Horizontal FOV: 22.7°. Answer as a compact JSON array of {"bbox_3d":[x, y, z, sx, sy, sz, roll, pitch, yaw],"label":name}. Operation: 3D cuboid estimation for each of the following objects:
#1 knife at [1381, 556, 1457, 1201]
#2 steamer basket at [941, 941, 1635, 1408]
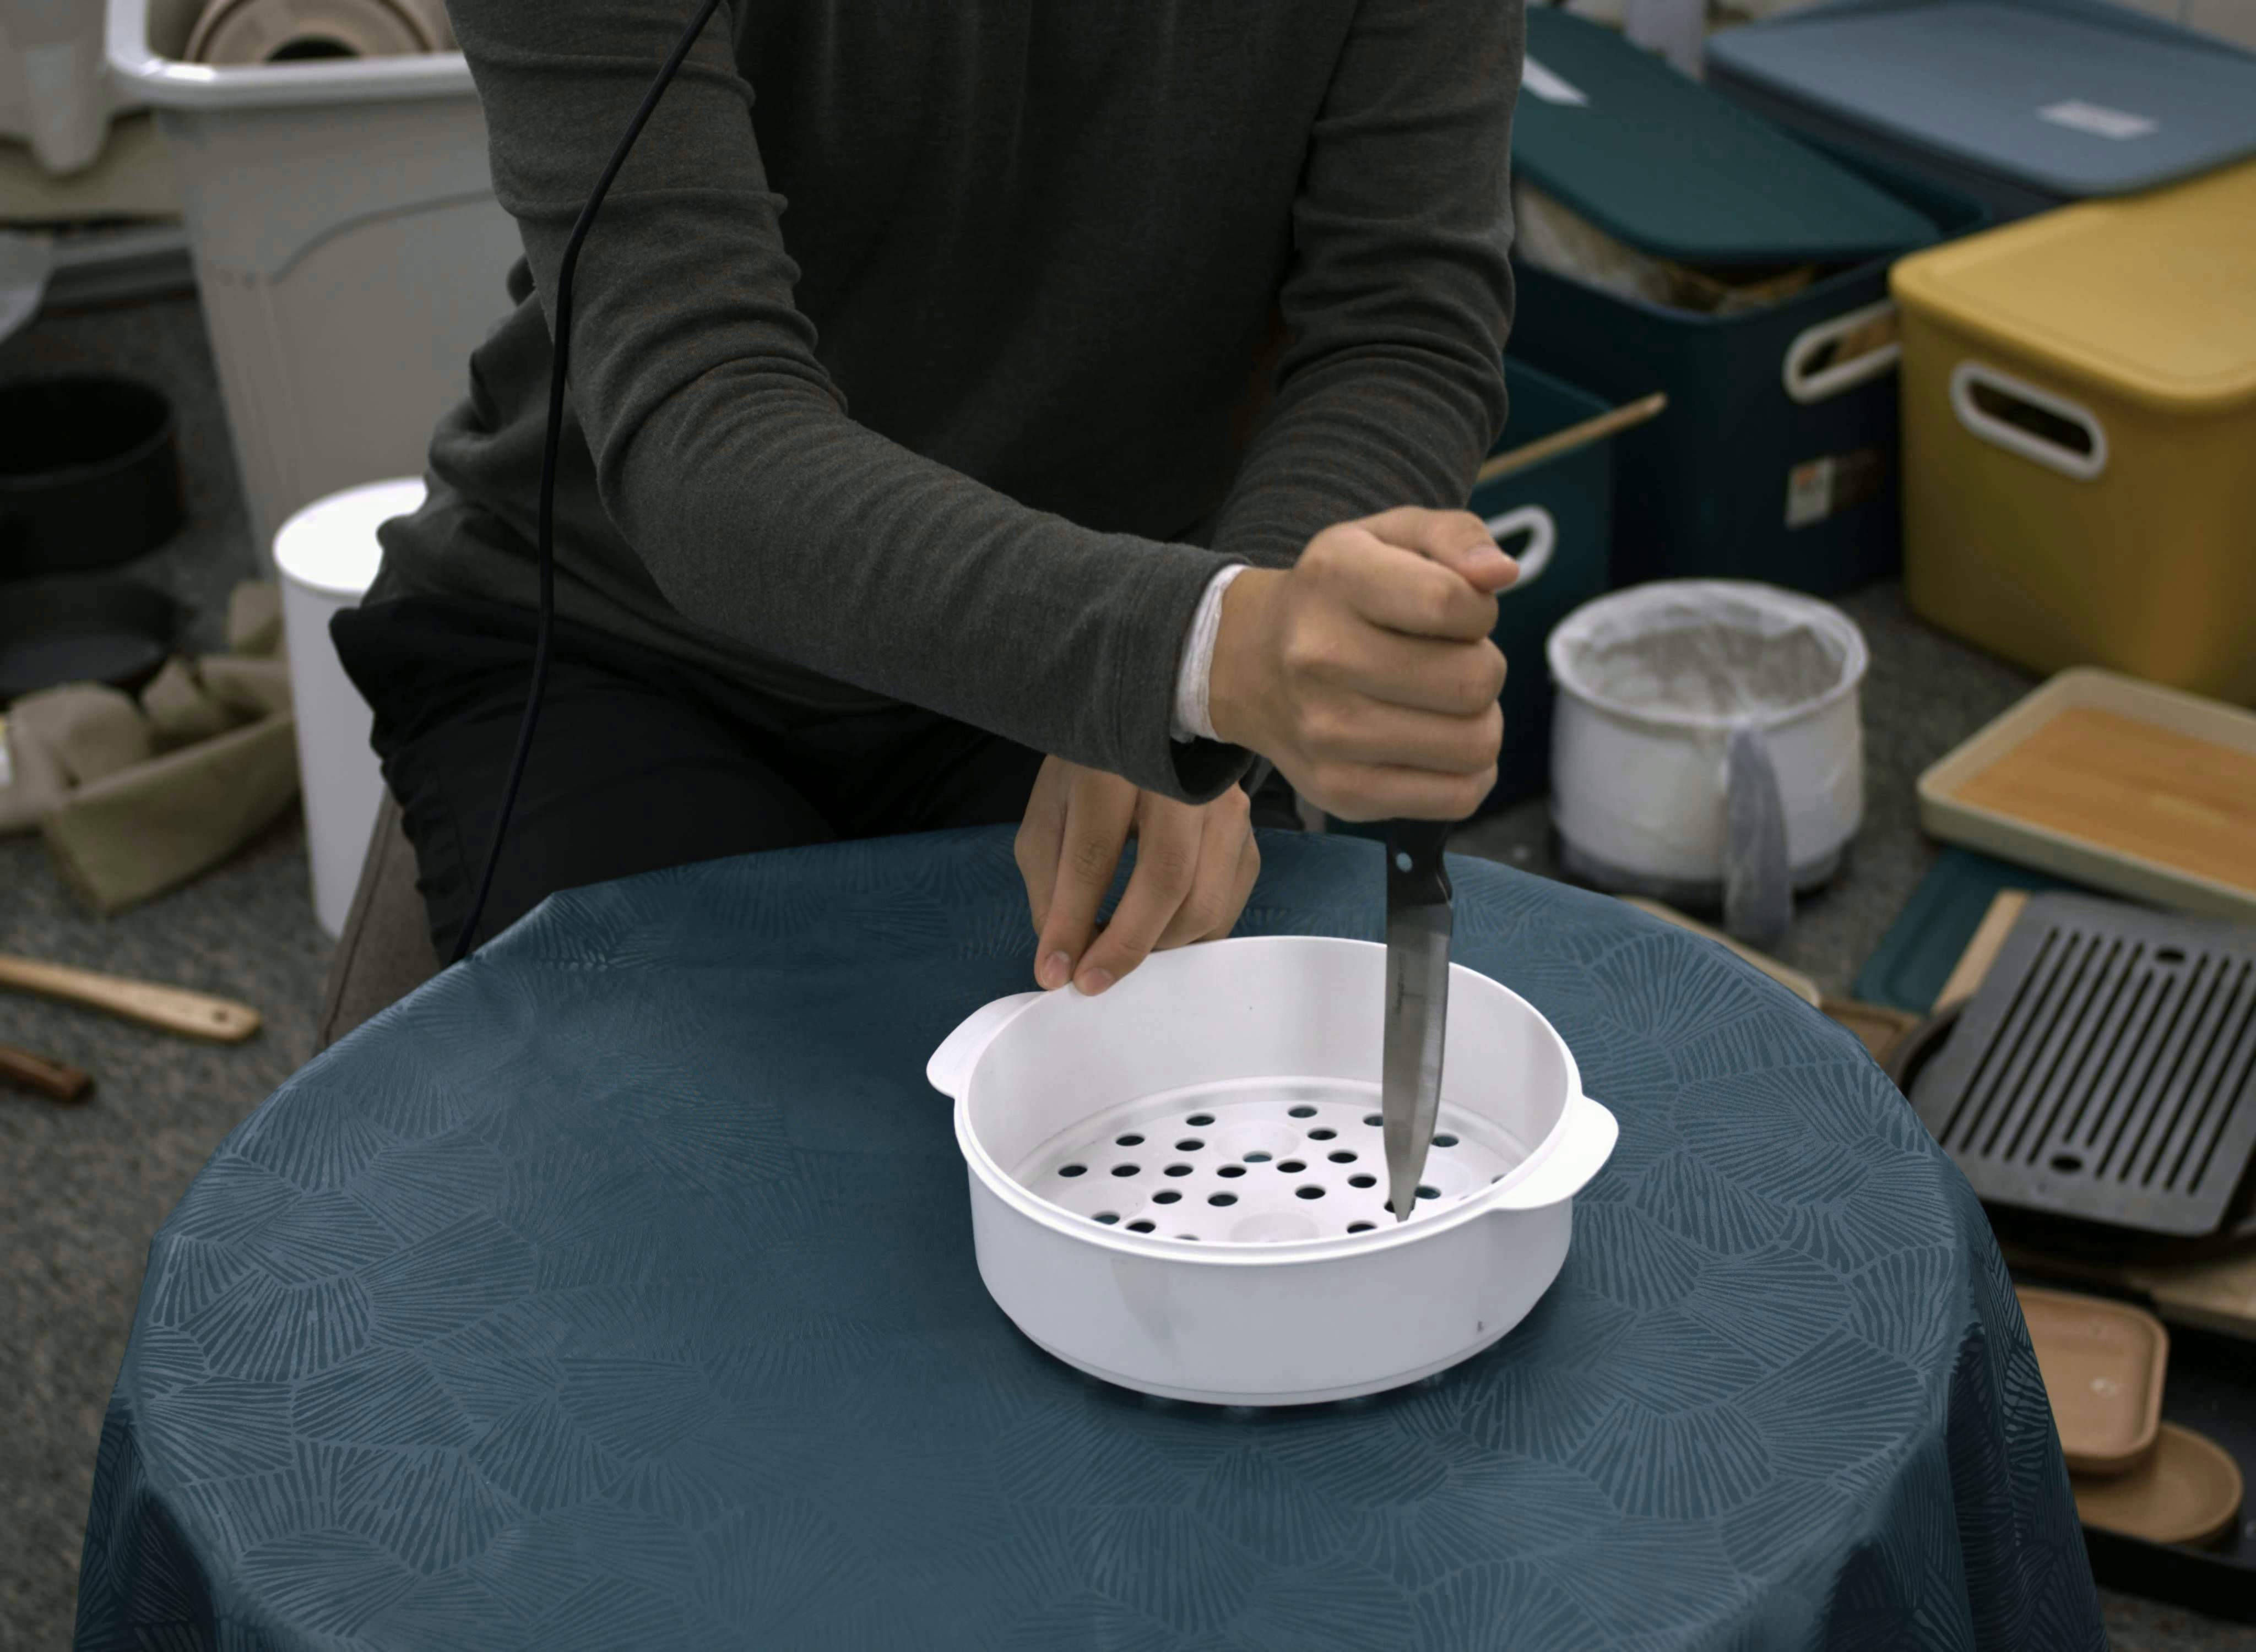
[{"bbox_3d":[0.088,0.024,1.728,0.024,0.235,0.016,19,33,33],"label":"knife"},{"bbox_3d":[0.050,0.111,1.803,0.229,0.068,0.205,10,29,25],"label":"steamer basket"}]
